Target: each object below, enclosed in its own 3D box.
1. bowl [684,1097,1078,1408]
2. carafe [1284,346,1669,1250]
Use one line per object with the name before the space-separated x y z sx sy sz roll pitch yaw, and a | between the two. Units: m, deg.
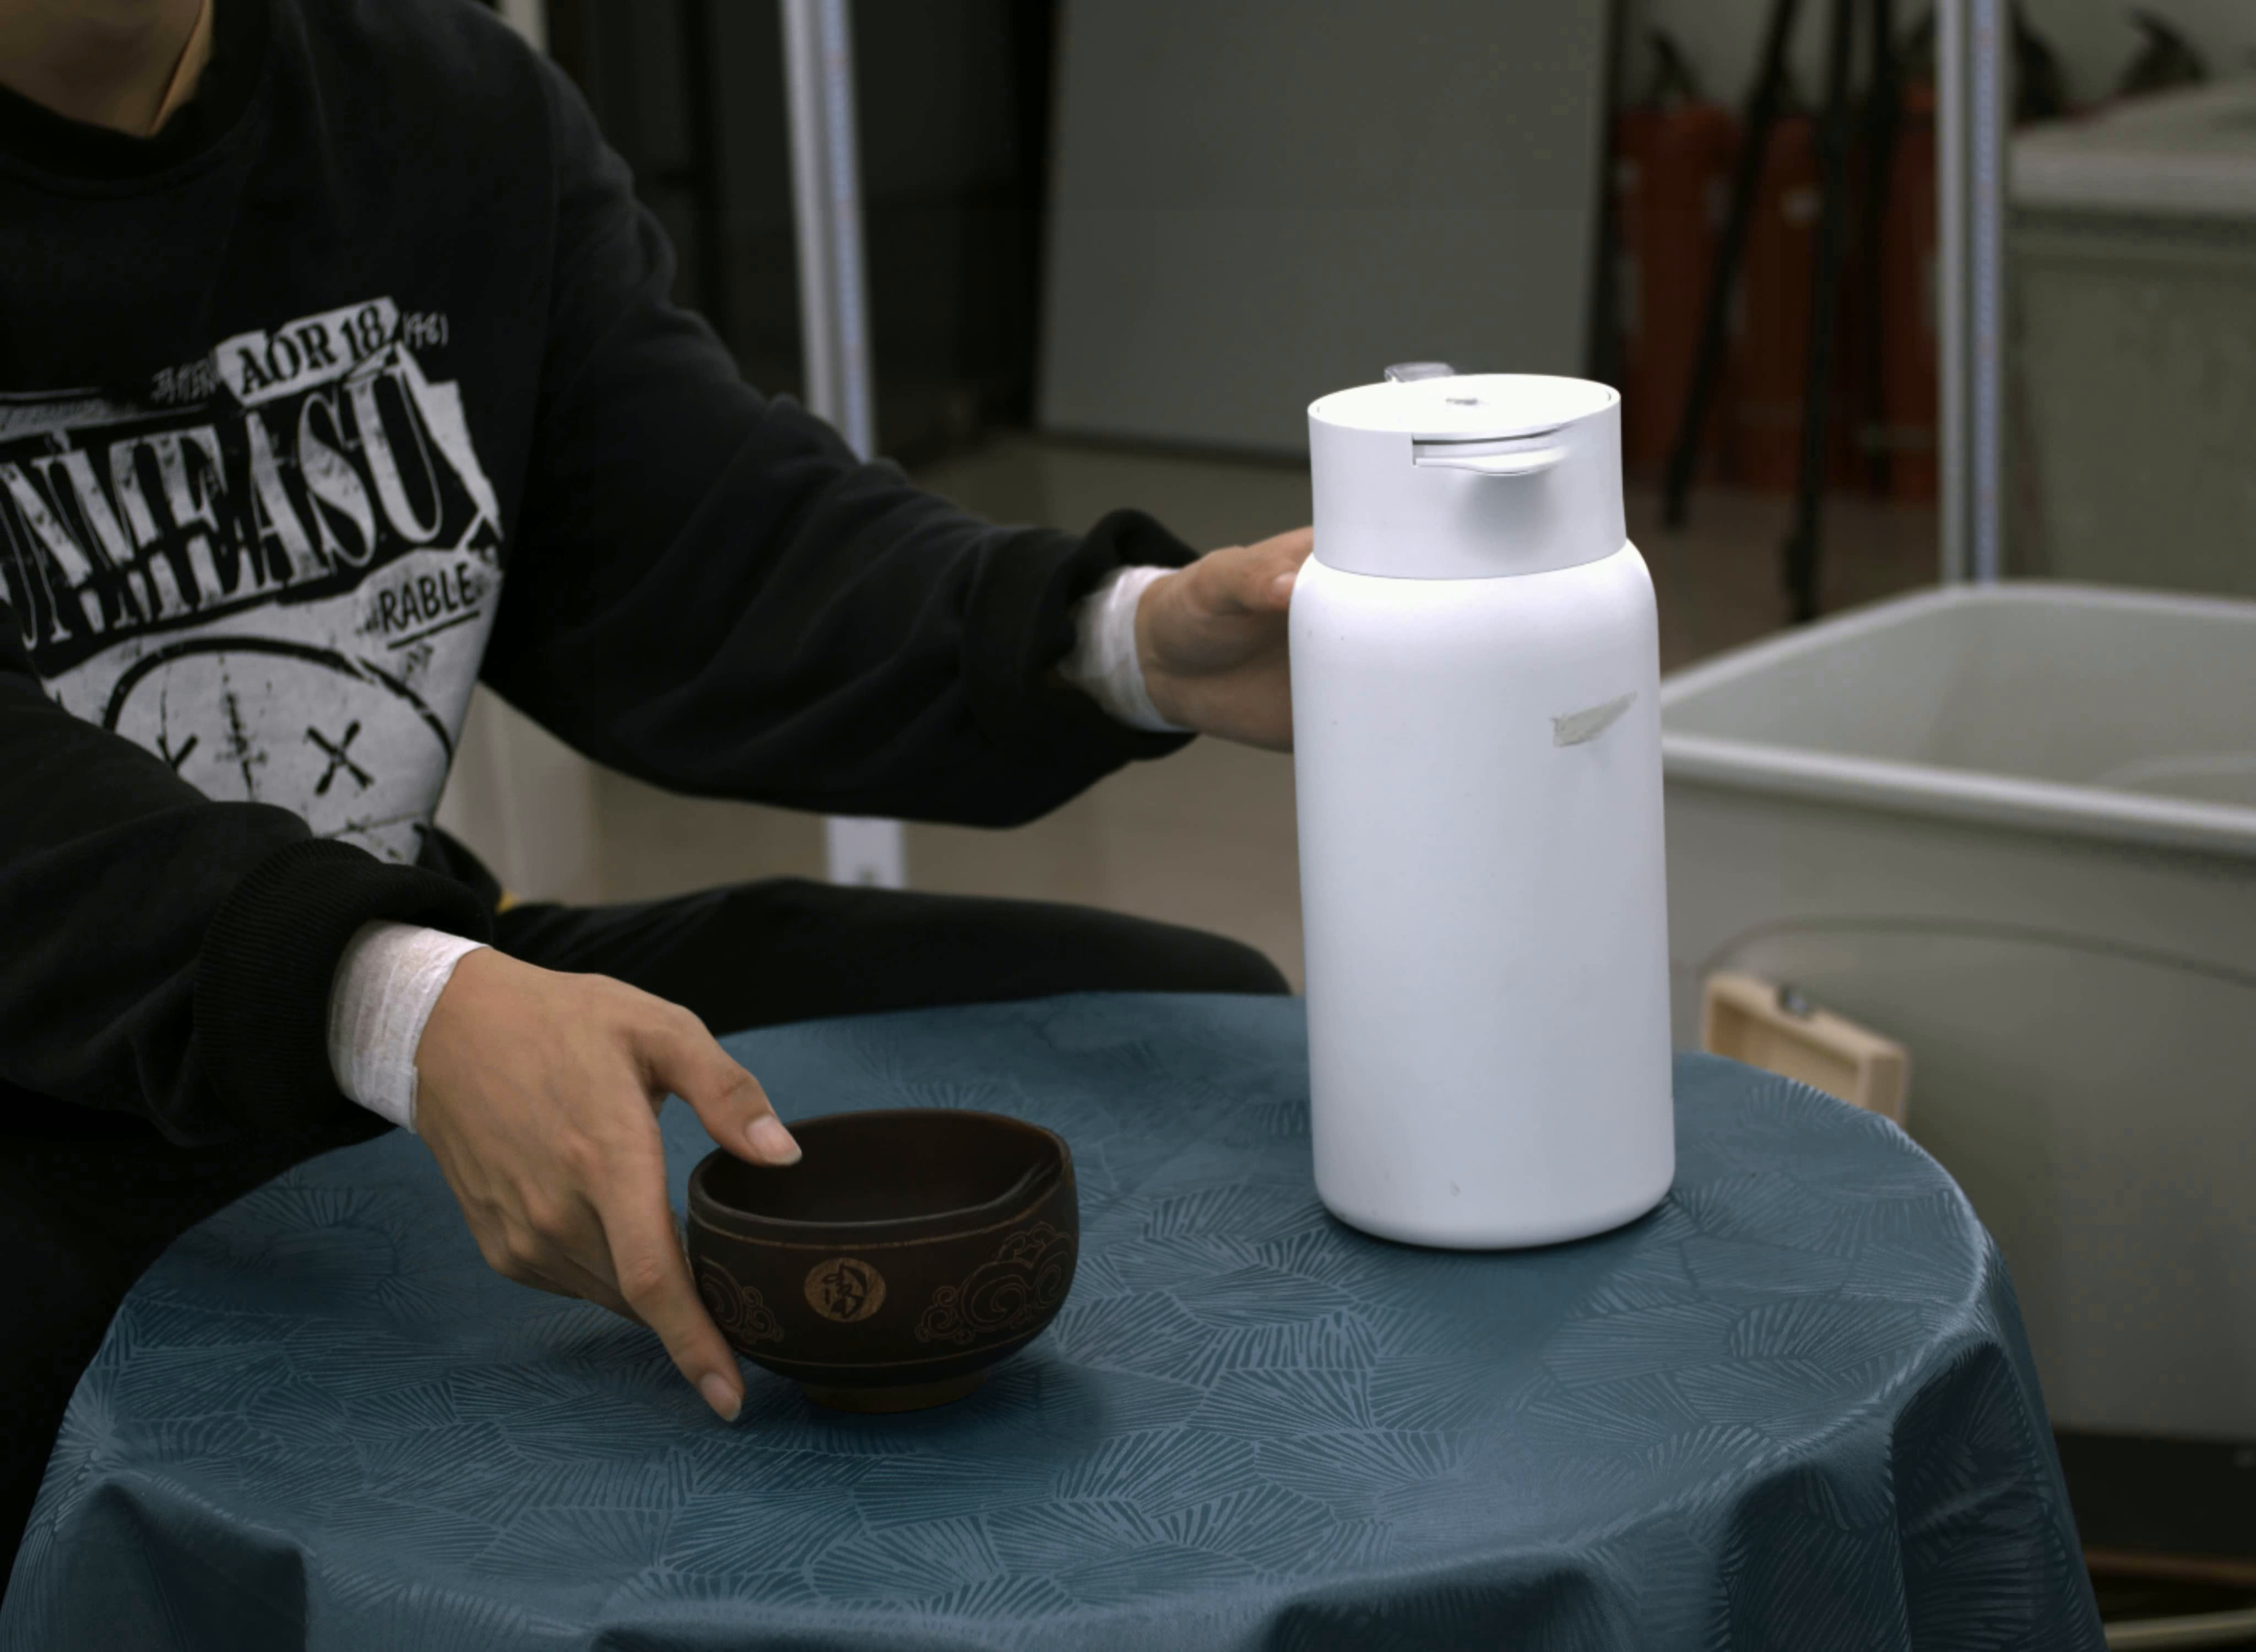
bowl | -0.072 0.130 1.603 0.116 0.070 0.118 -4 13 0
carafe | 0.105 -0.013 1.722 0.122 0.272 0.174 -8 14 -10
